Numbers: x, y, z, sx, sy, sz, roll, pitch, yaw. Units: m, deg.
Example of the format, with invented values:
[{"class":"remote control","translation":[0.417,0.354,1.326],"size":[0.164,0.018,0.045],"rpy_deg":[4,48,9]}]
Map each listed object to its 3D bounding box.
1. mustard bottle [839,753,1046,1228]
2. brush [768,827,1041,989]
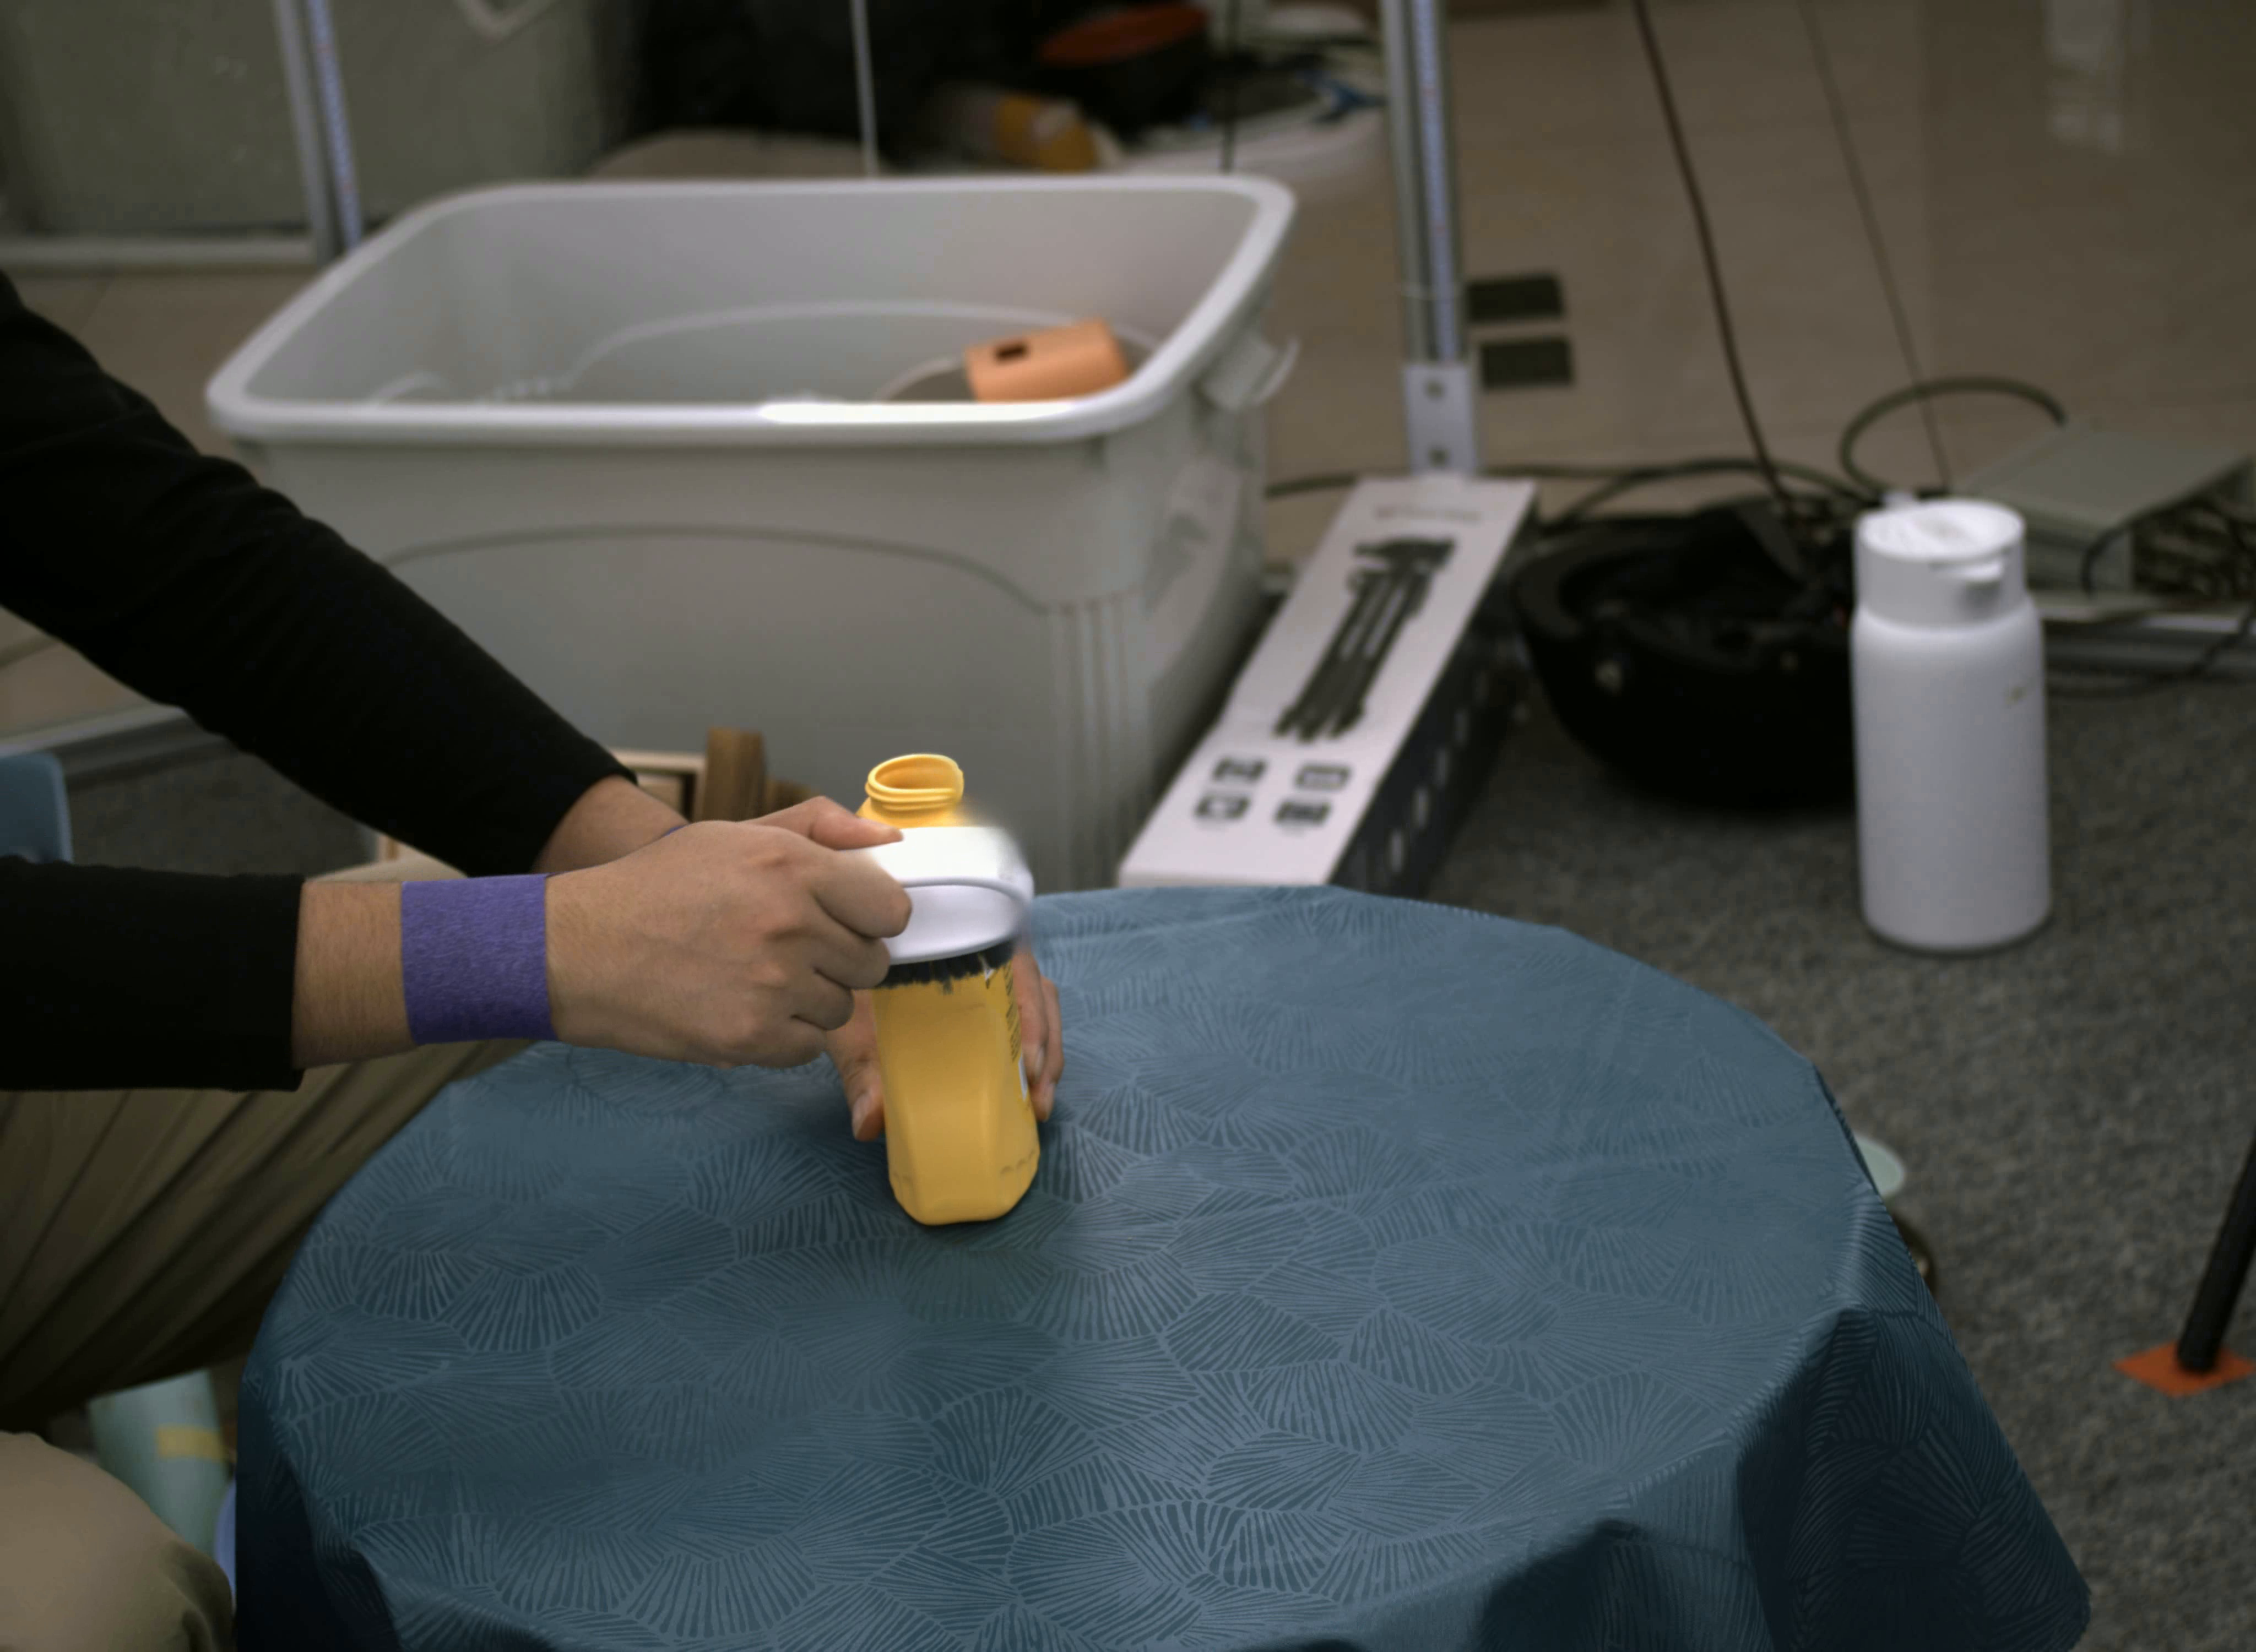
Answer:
[{"class":"mustard bottle","translation":[-0.071,0.058,2.135],"size":[0.059,0.175,0.097],"rpy_deg":[-8,27,3]},{"class":"brush","translation":[-0.081,0.024,2.041],"size":[0.099,0.050,0.073],"rpy_deg":[-3,-18,-1]}]
